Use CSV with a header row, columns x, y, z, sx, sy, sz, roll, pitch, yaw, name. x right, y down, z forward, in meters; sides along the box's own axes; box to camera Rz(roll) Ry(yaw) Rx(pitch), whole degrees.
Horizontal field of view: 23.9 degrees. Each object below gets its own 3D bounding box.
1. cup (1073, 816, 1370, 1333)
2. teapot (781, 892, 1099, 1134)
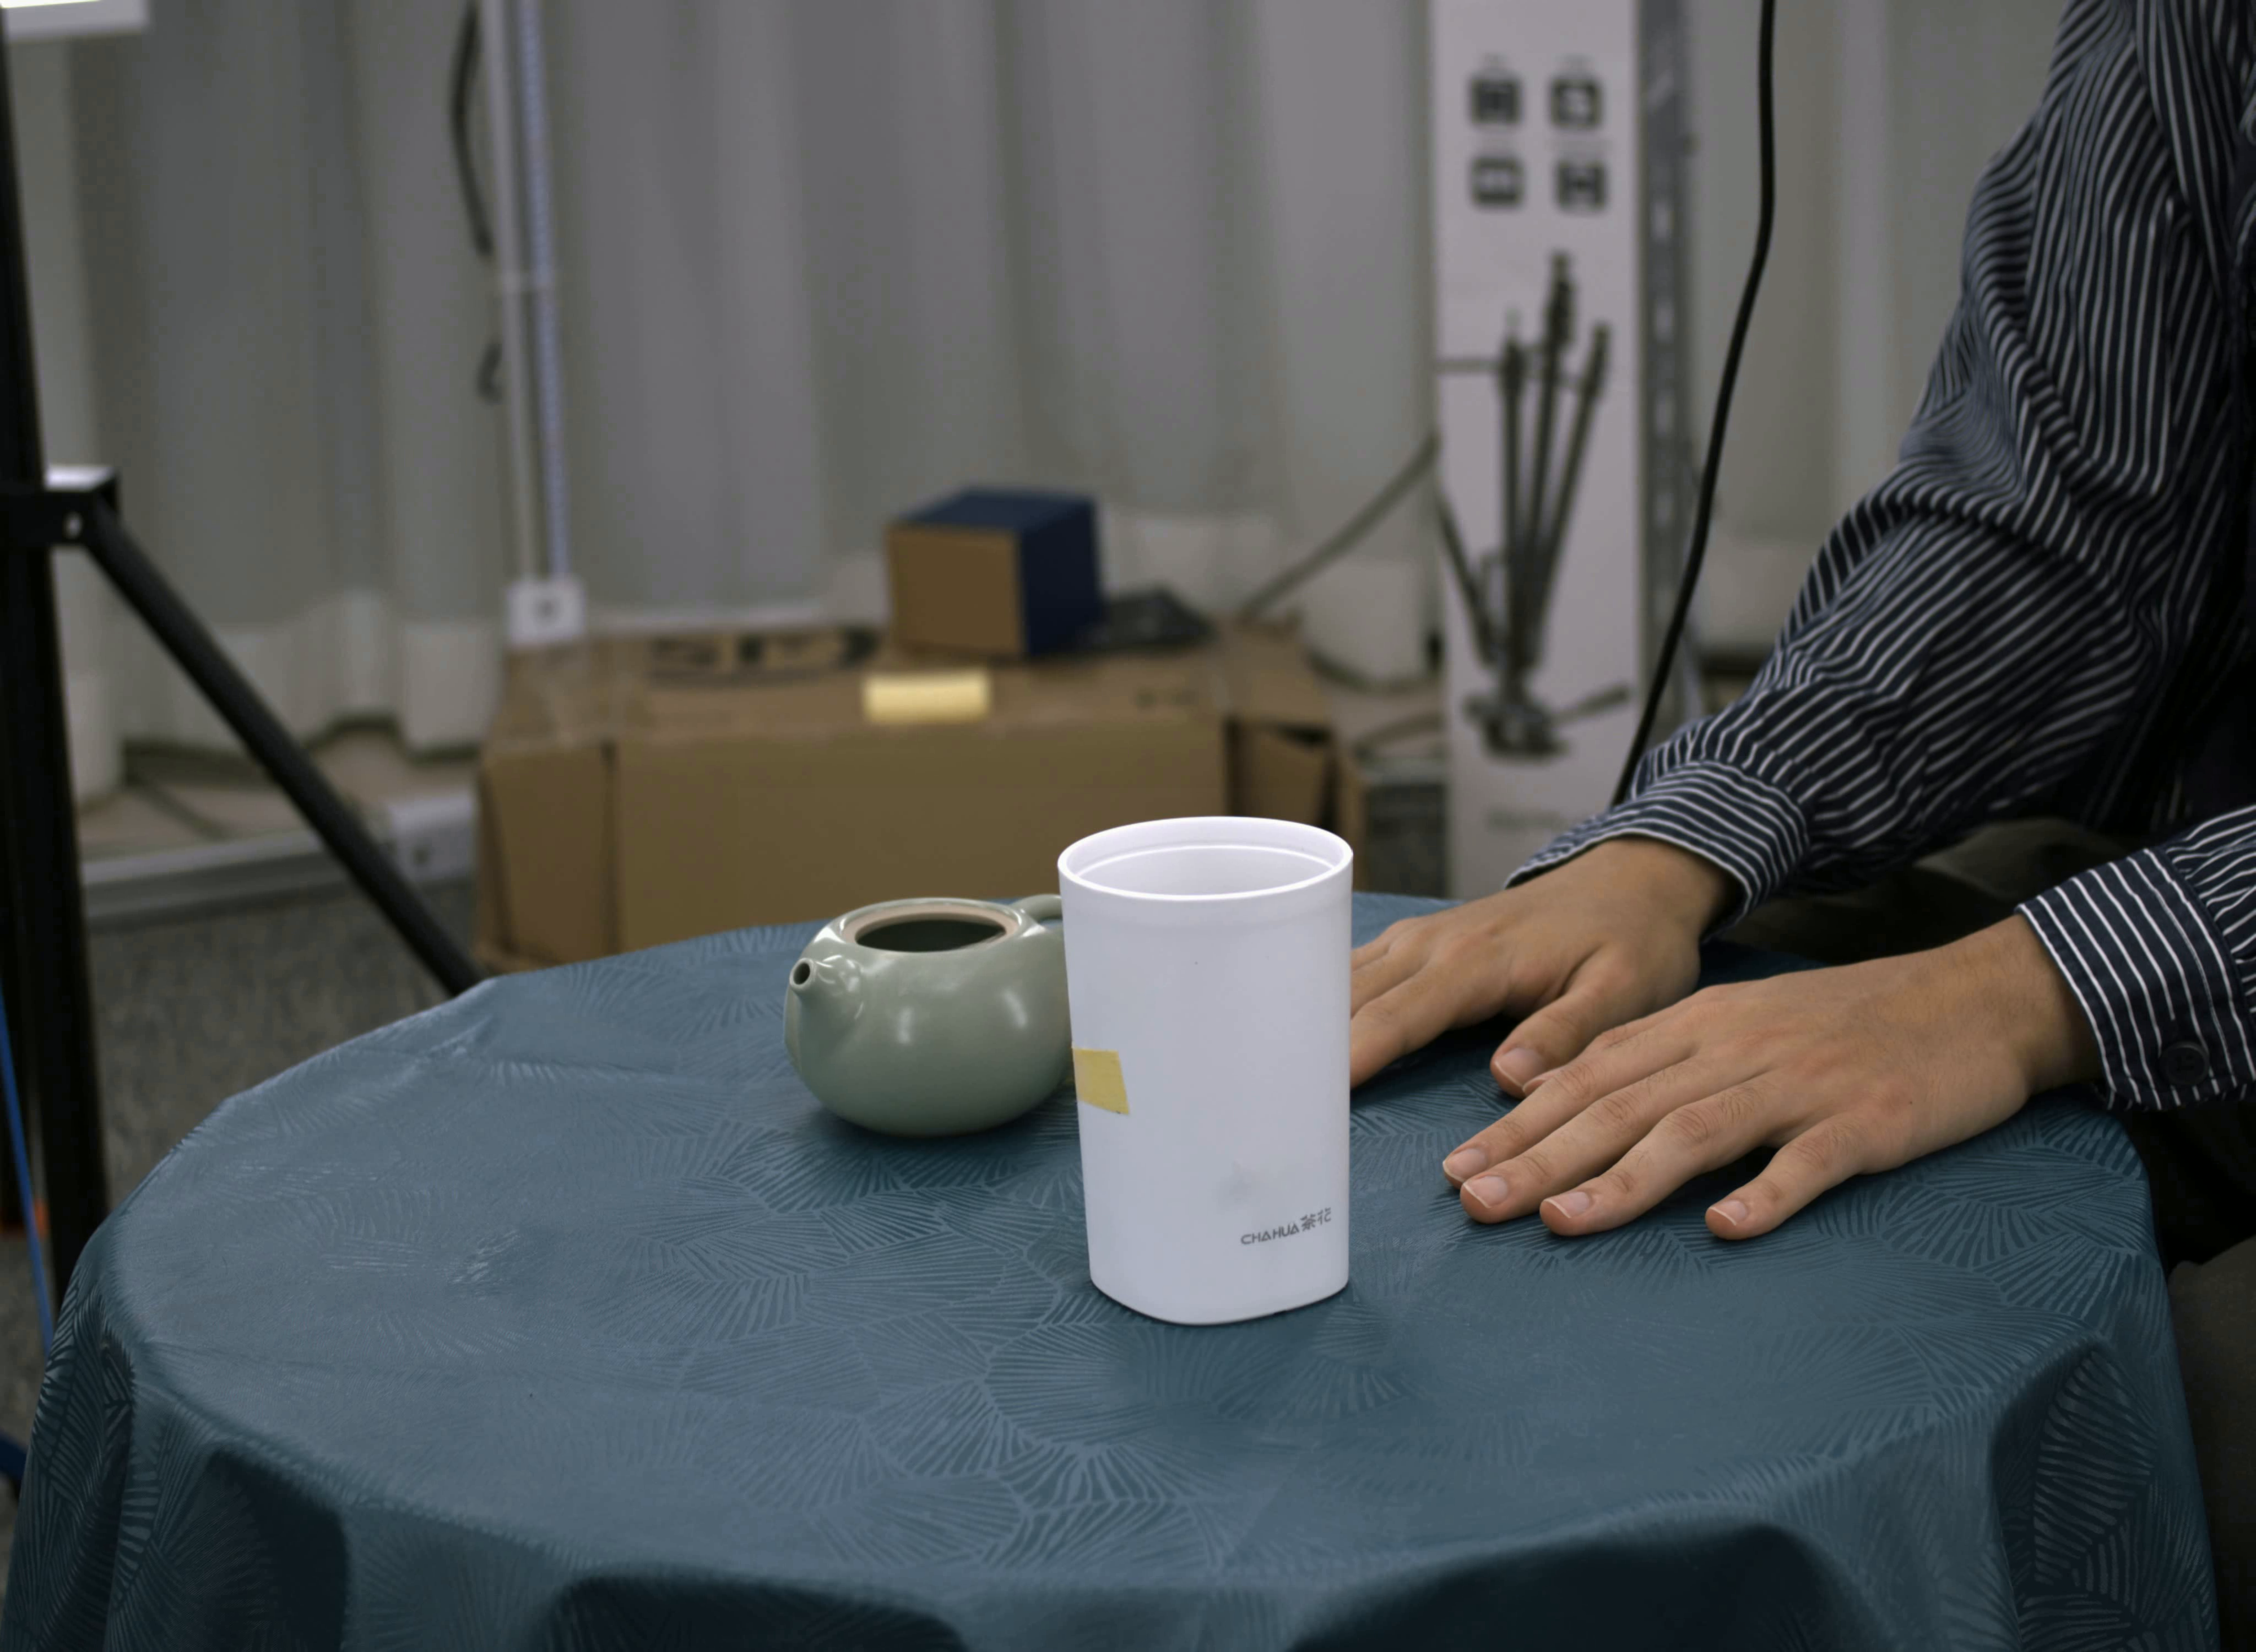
x,y,z,sx,sy,sz,roll,pitch,yaw,name
0.028,0.069,1.459,0.081,0.125,0.082,-2,15,-1,cup
-0.053,0.057,1.643,0.125,0.061,0.093,-13,17,-35,teapot
